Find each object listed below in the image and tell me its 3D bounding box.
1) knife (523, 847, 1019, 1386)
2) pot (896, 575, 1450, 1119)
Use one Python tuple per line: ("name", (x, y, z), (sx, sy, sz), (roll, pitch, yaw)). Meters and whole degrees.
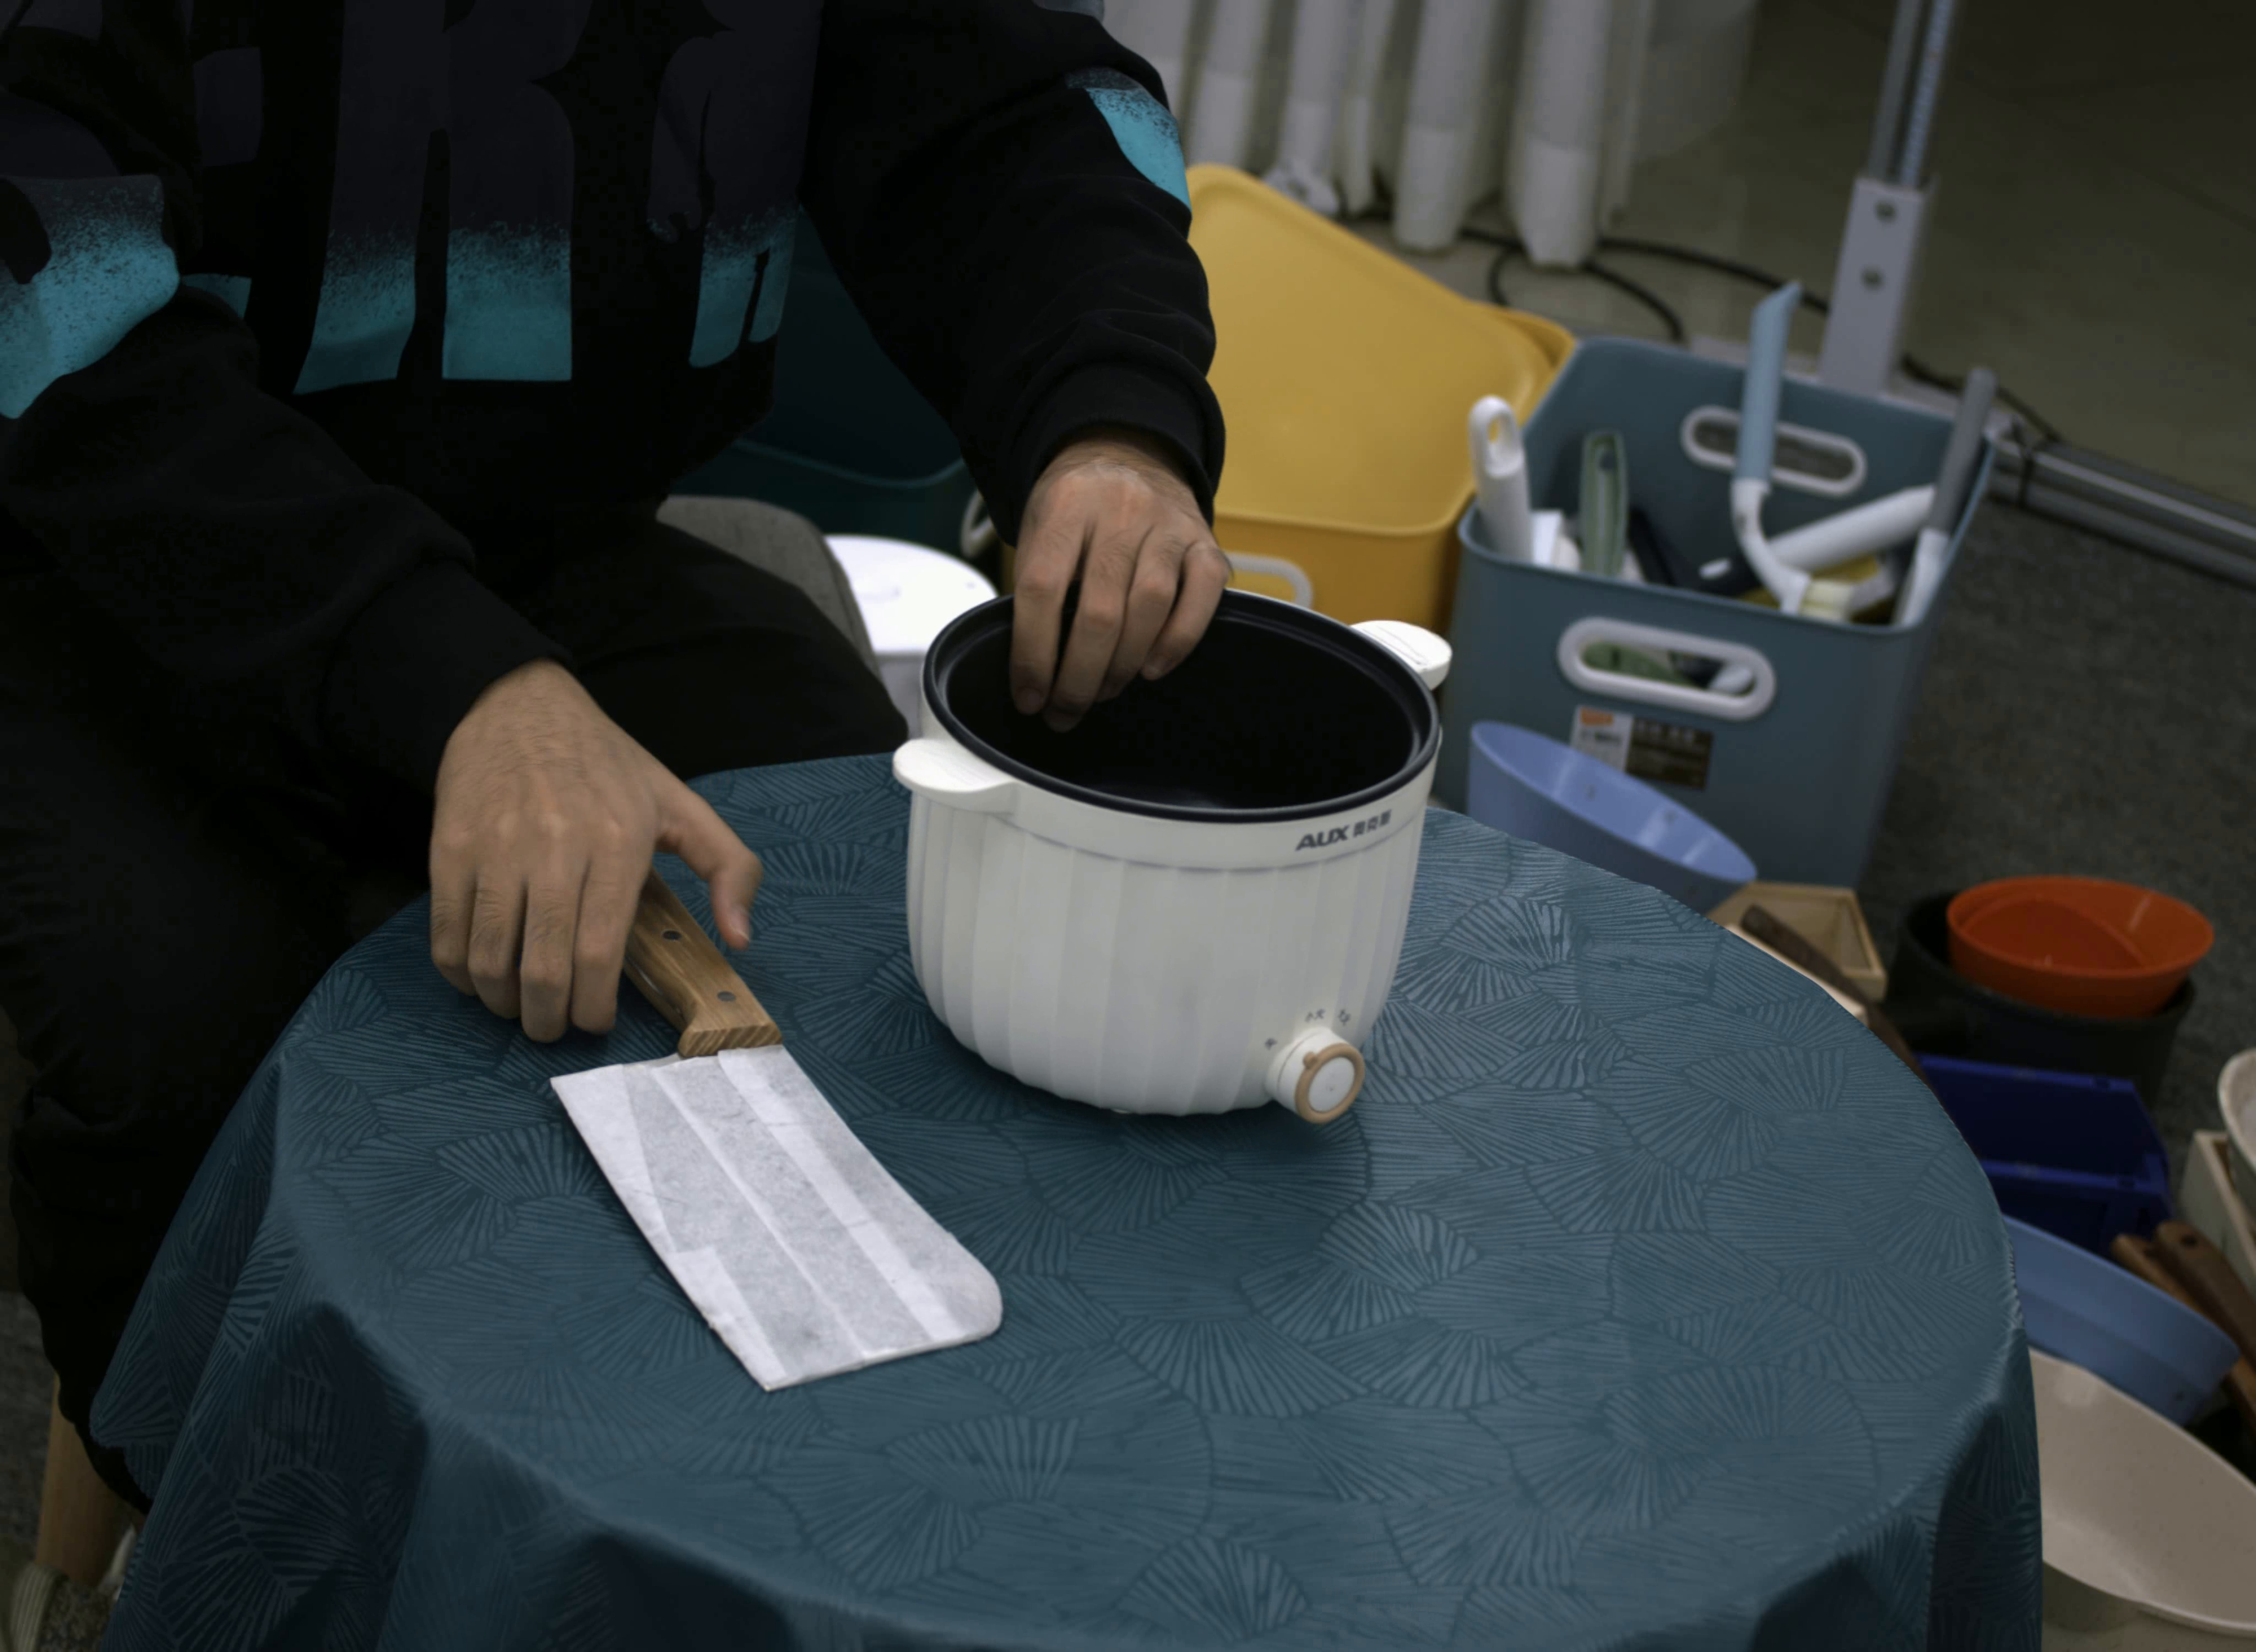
("knife", (-0.137, 0.094, 1.809), (0.113, 0.021, 0.318), (-6, 32, -23))
("pot", (0.017, 0.013, 1.869), (0.239, 0.142, 0.192), (-16, 32, -36))
